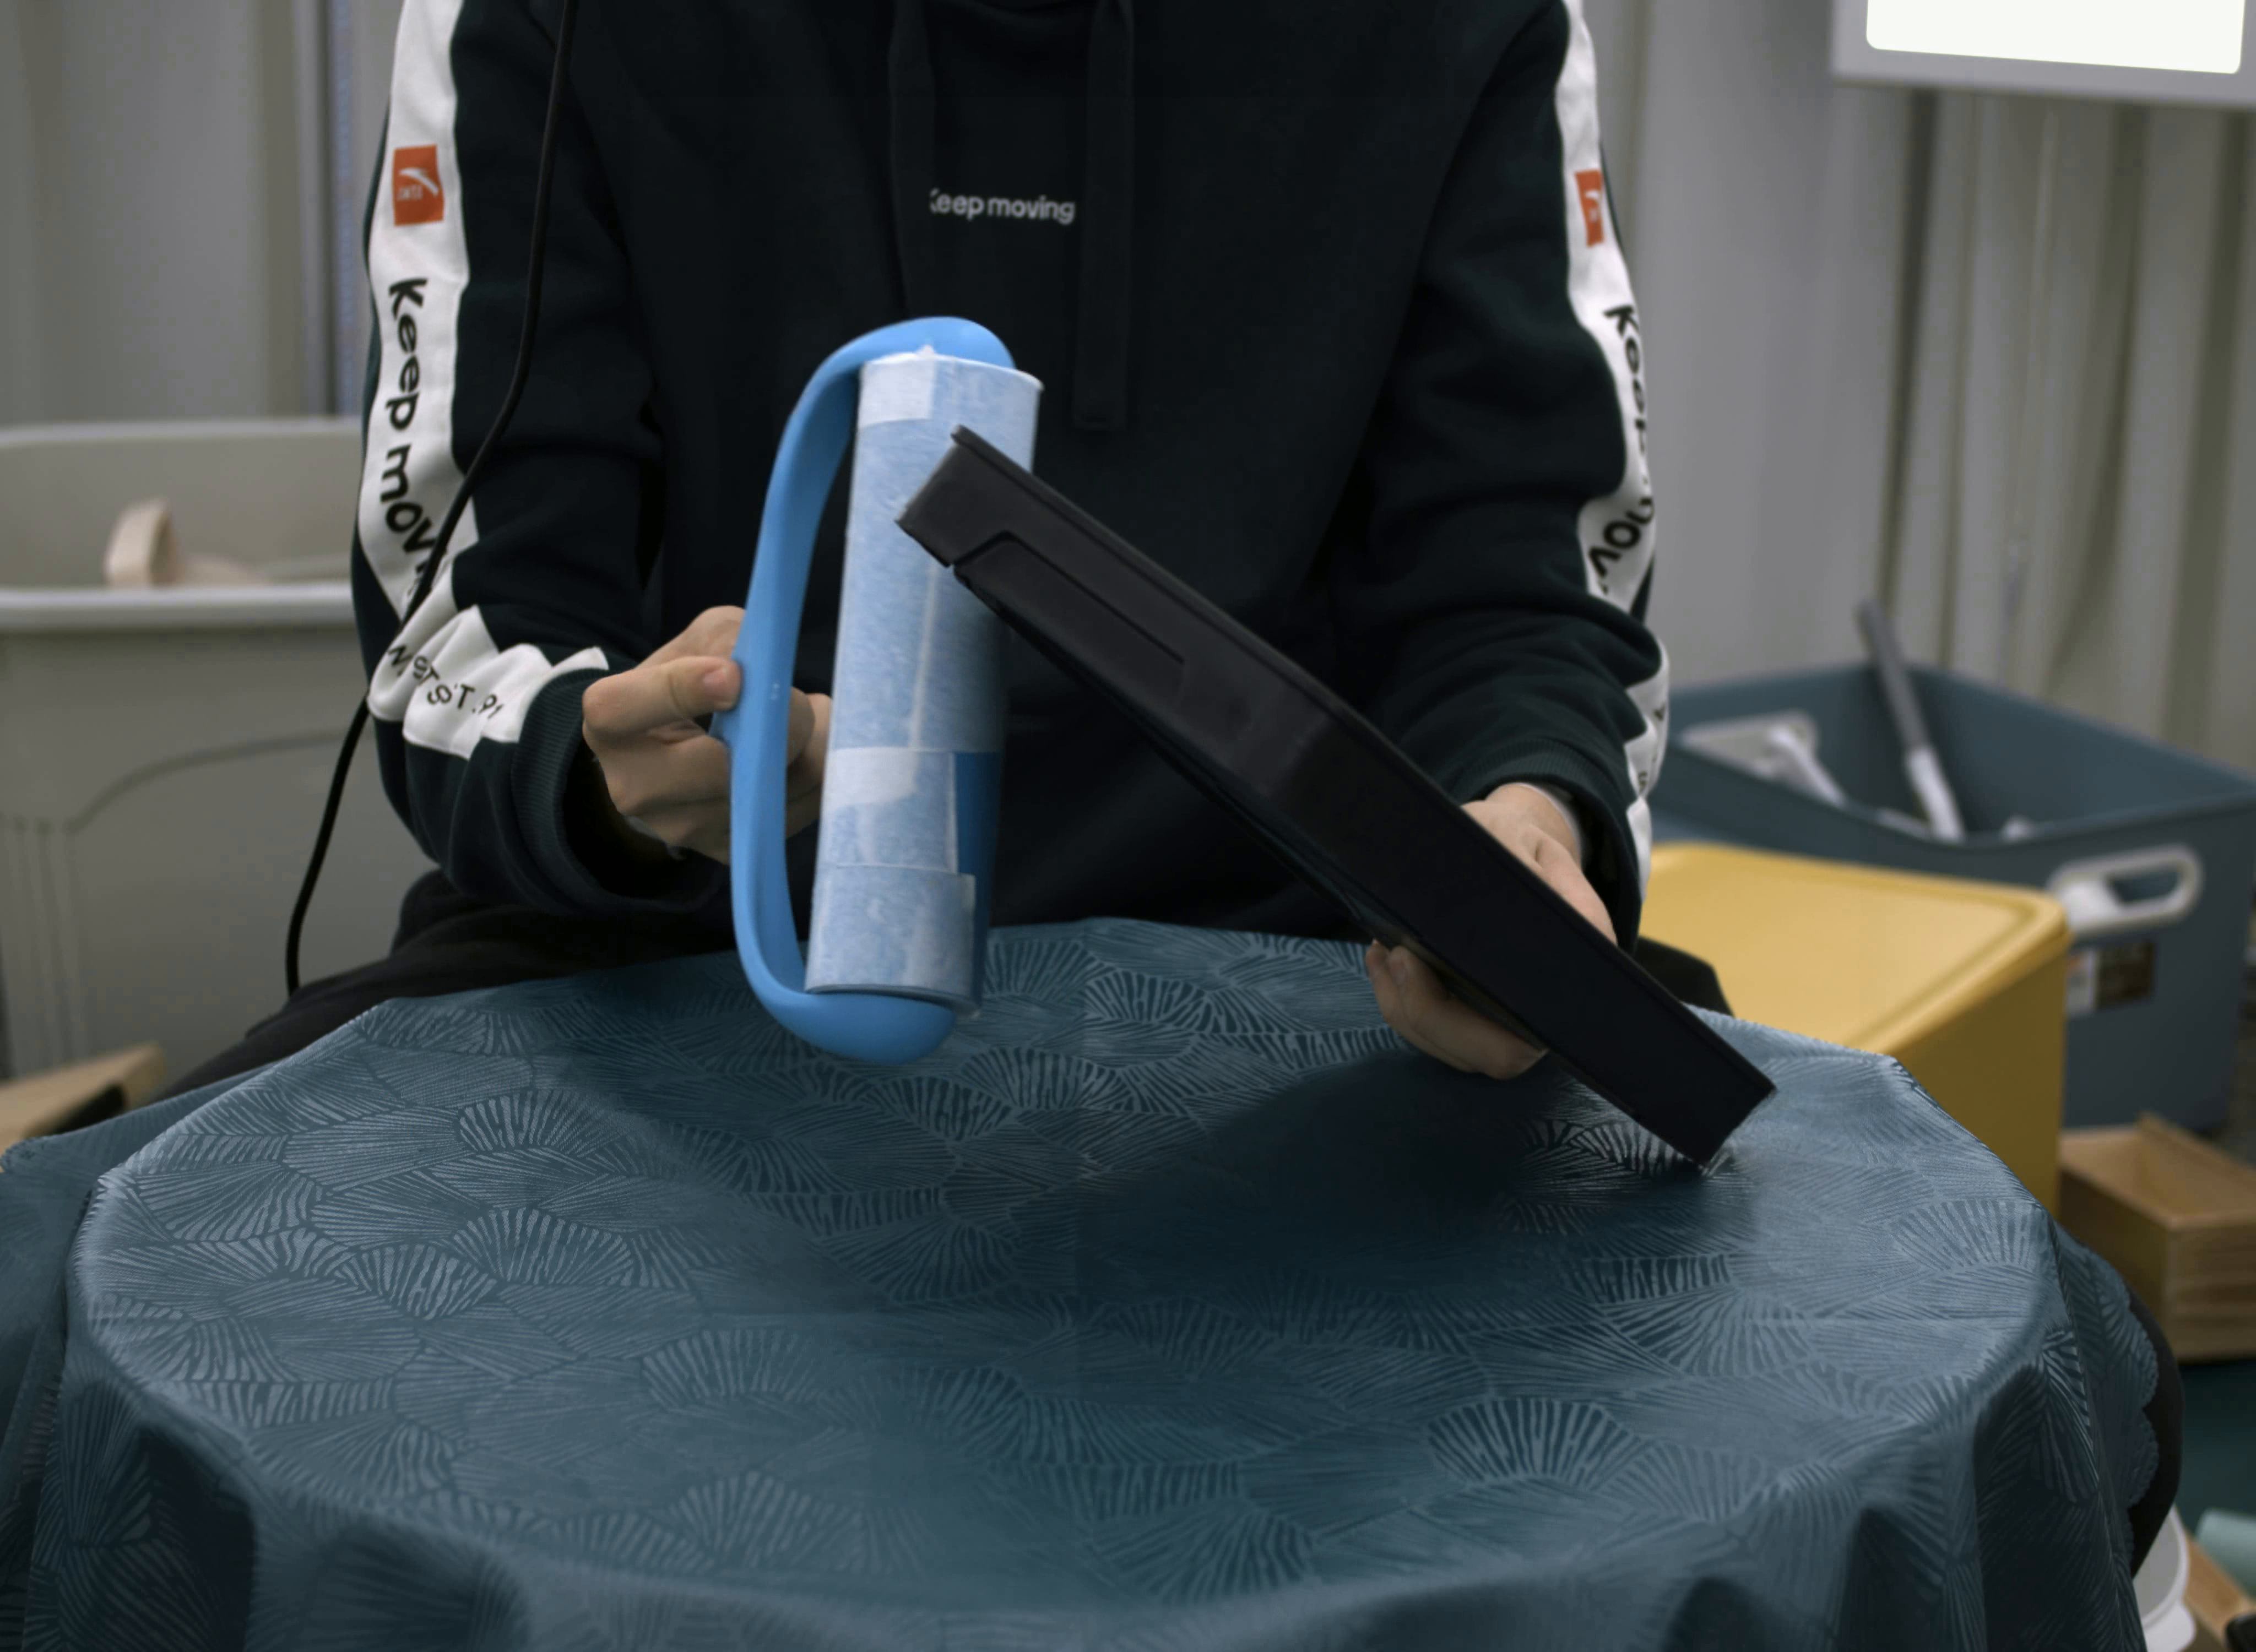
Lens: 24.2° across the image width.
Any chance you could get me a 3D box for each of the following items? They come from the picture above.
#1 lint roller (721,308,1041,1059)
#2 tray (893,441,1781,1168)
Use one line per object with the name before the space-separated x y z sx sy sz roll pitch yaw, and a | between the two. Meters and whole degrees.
lint roller | -0.092 -0.034 1.621 0.068 0.228 0.179 9 -14 -31
tray | 0.067 -0.001 1.576 0.182 0.037 0.322 36 -1 37
